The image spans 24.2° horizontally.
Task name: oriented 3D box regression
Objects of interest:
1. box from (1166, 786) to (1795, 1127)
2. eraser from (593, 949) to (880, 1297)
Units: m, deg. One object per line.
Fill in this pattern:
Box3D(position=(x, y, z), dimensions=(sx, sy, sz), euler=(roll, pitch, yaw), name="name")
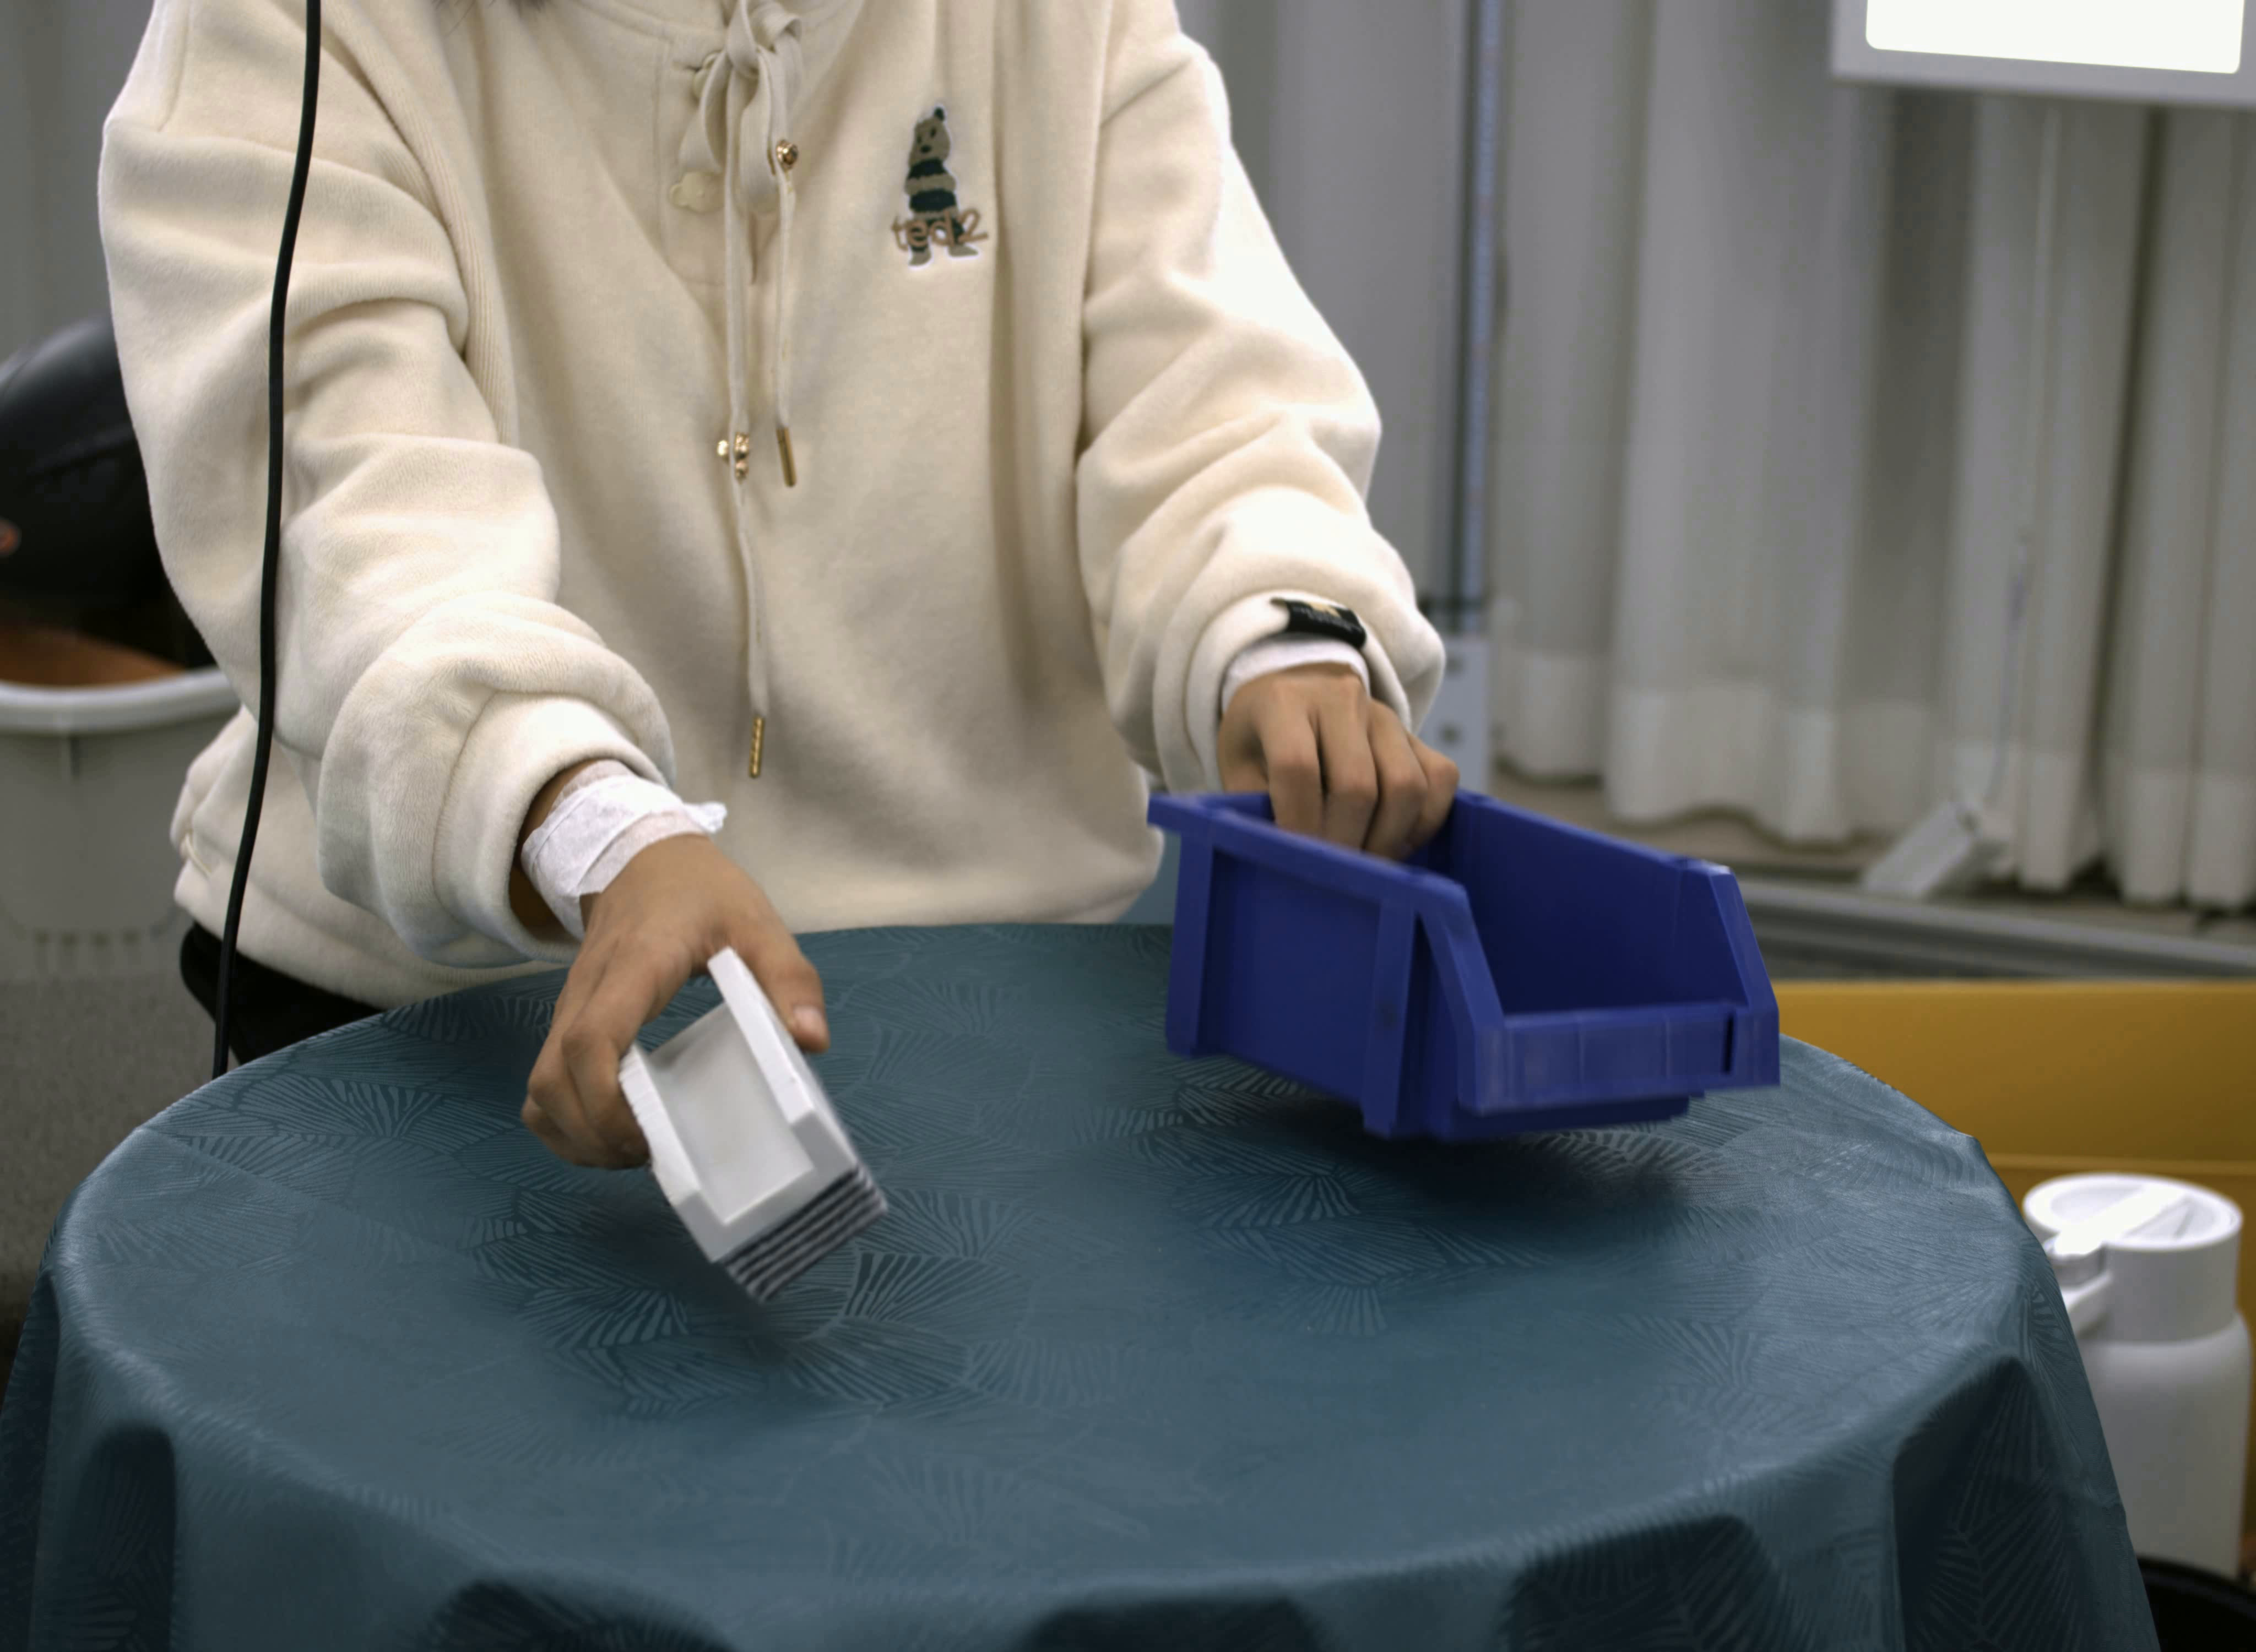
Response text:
Box3D(position=(0.109, 0.041, 1.648), dimensions=(0.125, 0.082, 0.177), euler=(-1, 10, -34), name="box")
Box3D(position=(-0.113, 0.084, 1.515), dimensions=(0.050, 0.047, 0.133), euler=(-40, 24, -1), name="eraser")
